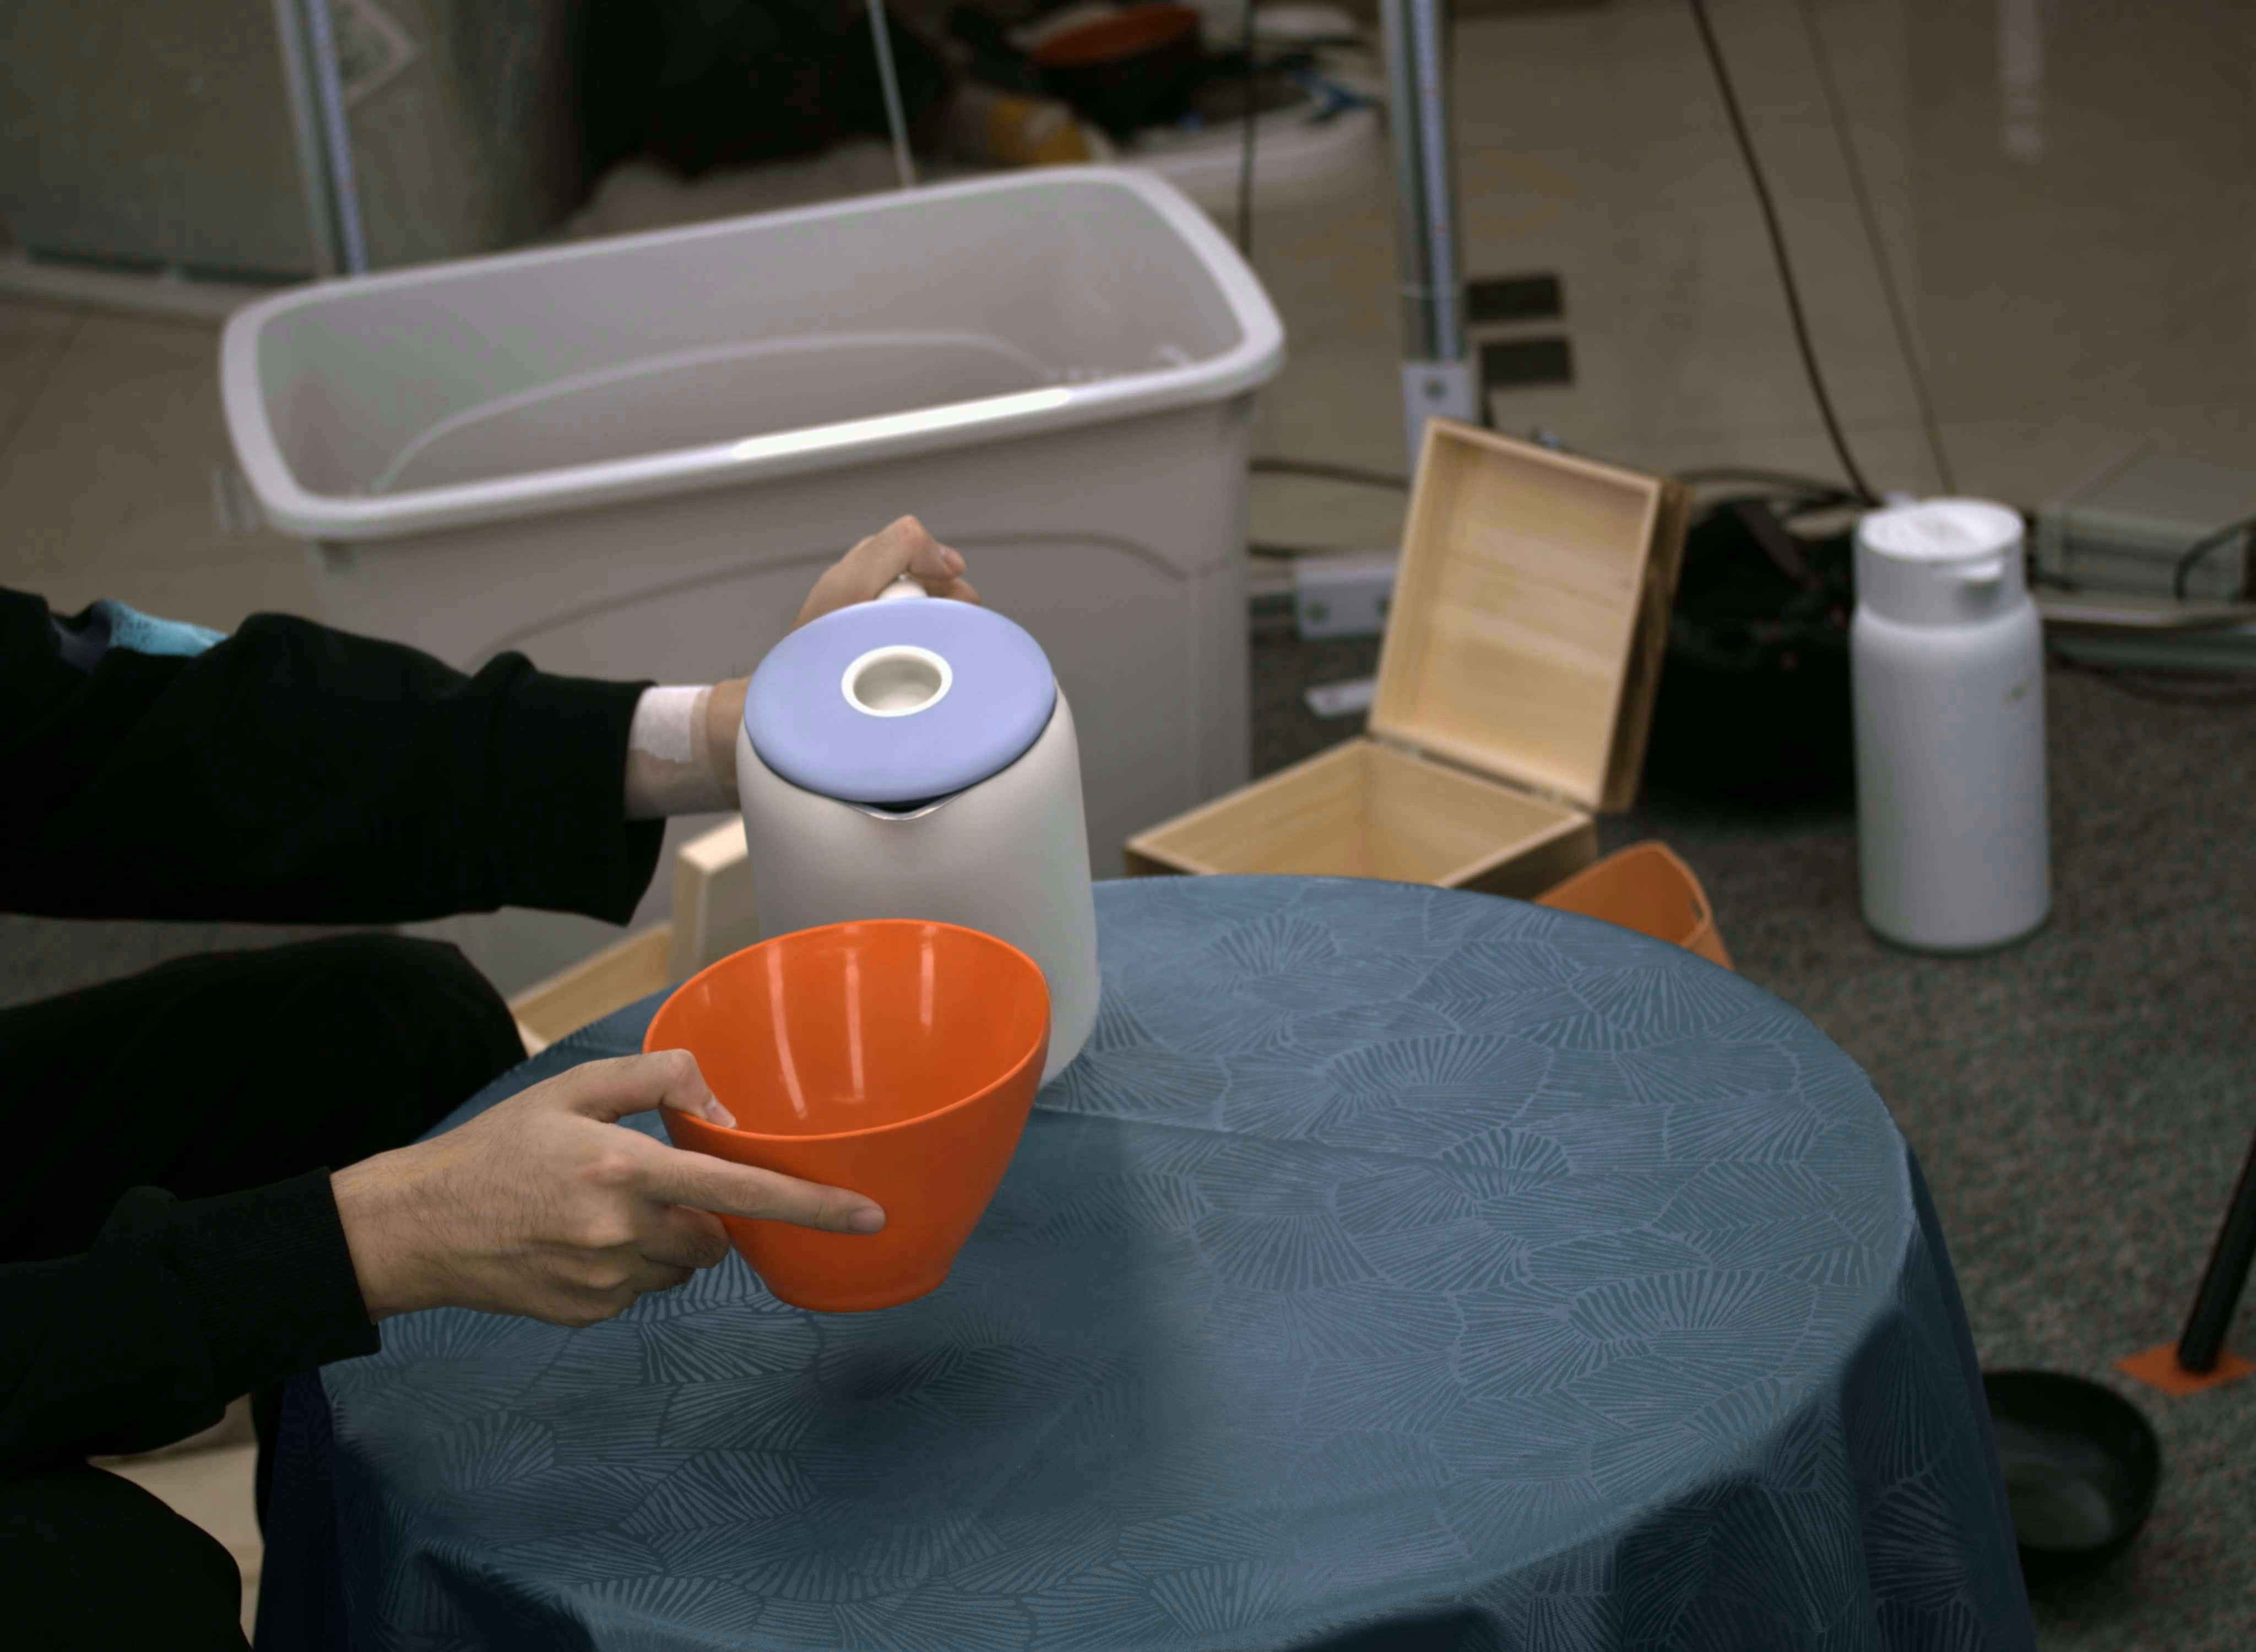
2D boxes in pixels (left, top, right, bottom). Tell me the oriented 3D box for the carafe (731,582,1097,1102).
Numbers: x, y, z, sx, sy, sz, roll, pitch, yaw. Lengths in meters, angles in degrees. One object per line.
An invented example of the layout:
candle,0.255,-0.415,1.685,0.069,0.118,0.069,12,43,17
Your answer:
carafe,-0.084,0.000,2.200,0.132,0.186,0.187,-6,38,-2

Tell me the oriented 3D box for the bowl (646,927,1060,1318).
bowl,-0.095,0.110,2.018,0.148,0.106,0.146,-3,20,1
